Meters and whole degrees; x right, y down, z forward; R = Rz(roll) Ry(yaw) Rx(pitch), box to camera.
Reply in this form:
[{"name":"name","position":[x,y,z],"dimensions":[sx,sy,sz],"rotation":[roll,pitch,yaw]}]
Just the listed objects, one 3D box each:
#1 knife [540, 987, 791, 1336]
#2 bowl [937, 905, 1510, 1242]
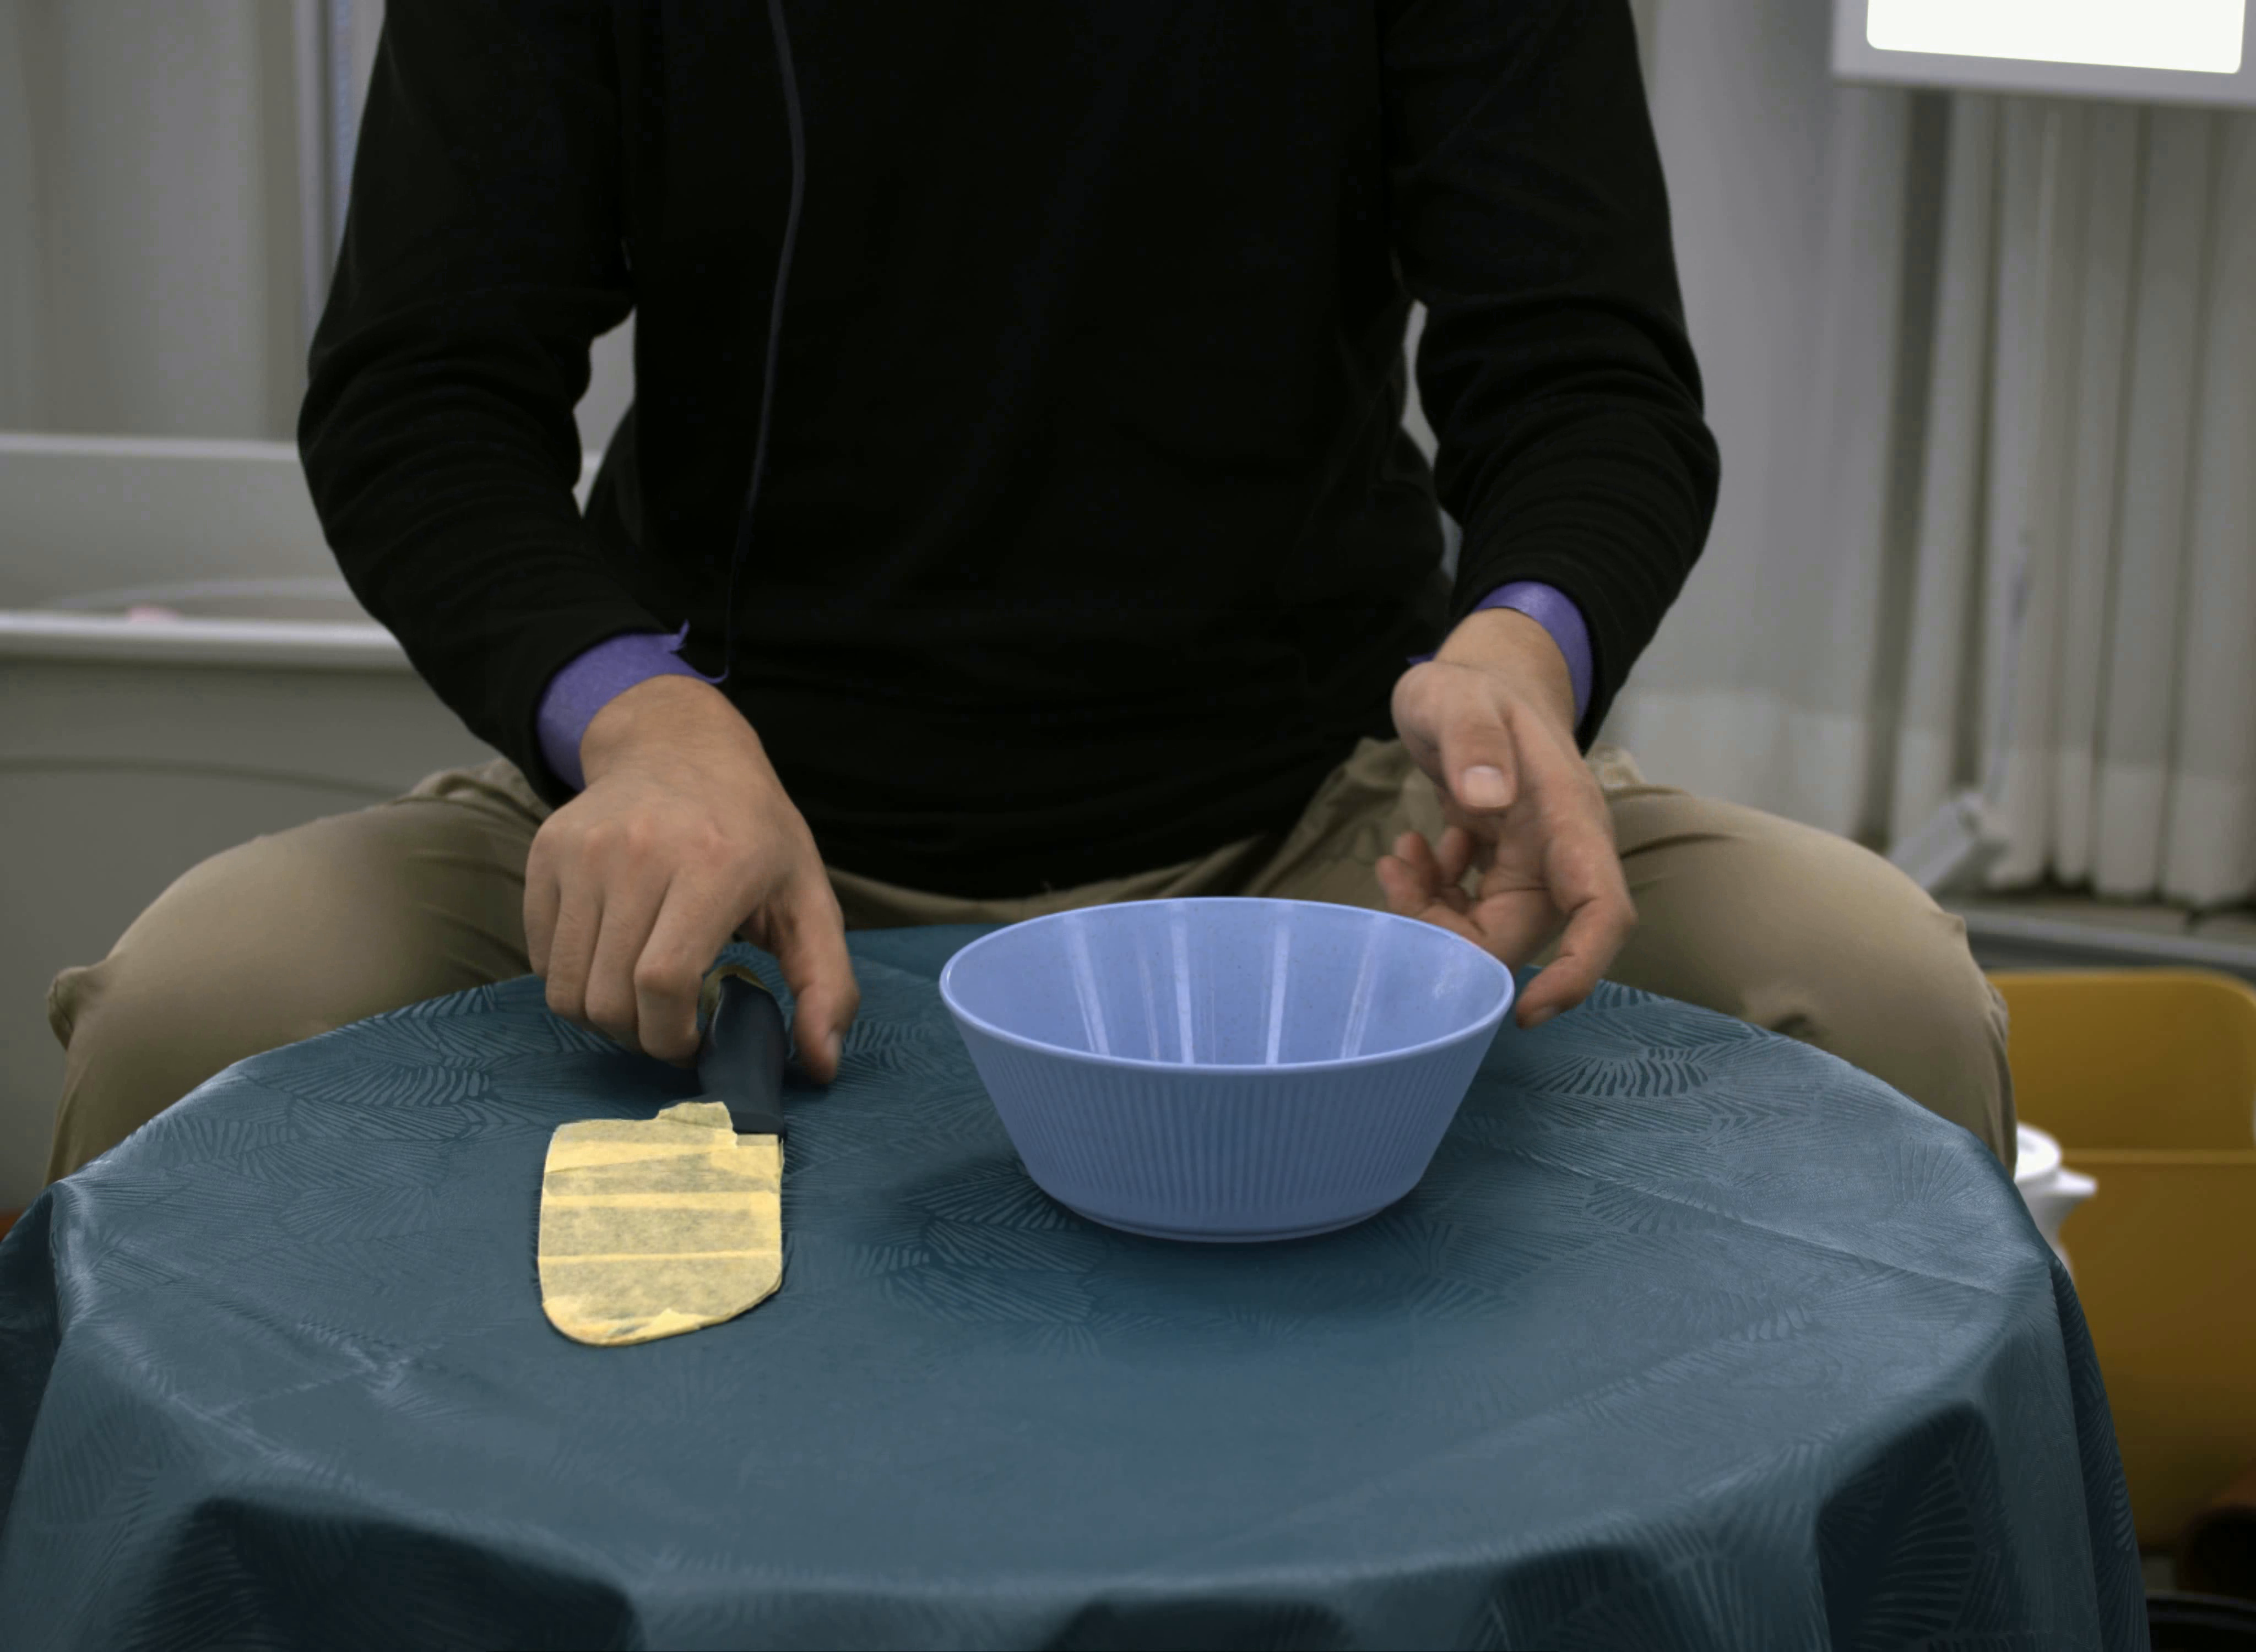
[{"name":"knife","position":[-0.140,0.103,1.626],"dimensions":[0.081,0.027,0.288],"rotation":[3,17,-2]},{"name":"bowl","position":[0.029,0.078,1.619],"dimensions":[0.175,0.071,0.175],"rotation":[0,16,1]}]
